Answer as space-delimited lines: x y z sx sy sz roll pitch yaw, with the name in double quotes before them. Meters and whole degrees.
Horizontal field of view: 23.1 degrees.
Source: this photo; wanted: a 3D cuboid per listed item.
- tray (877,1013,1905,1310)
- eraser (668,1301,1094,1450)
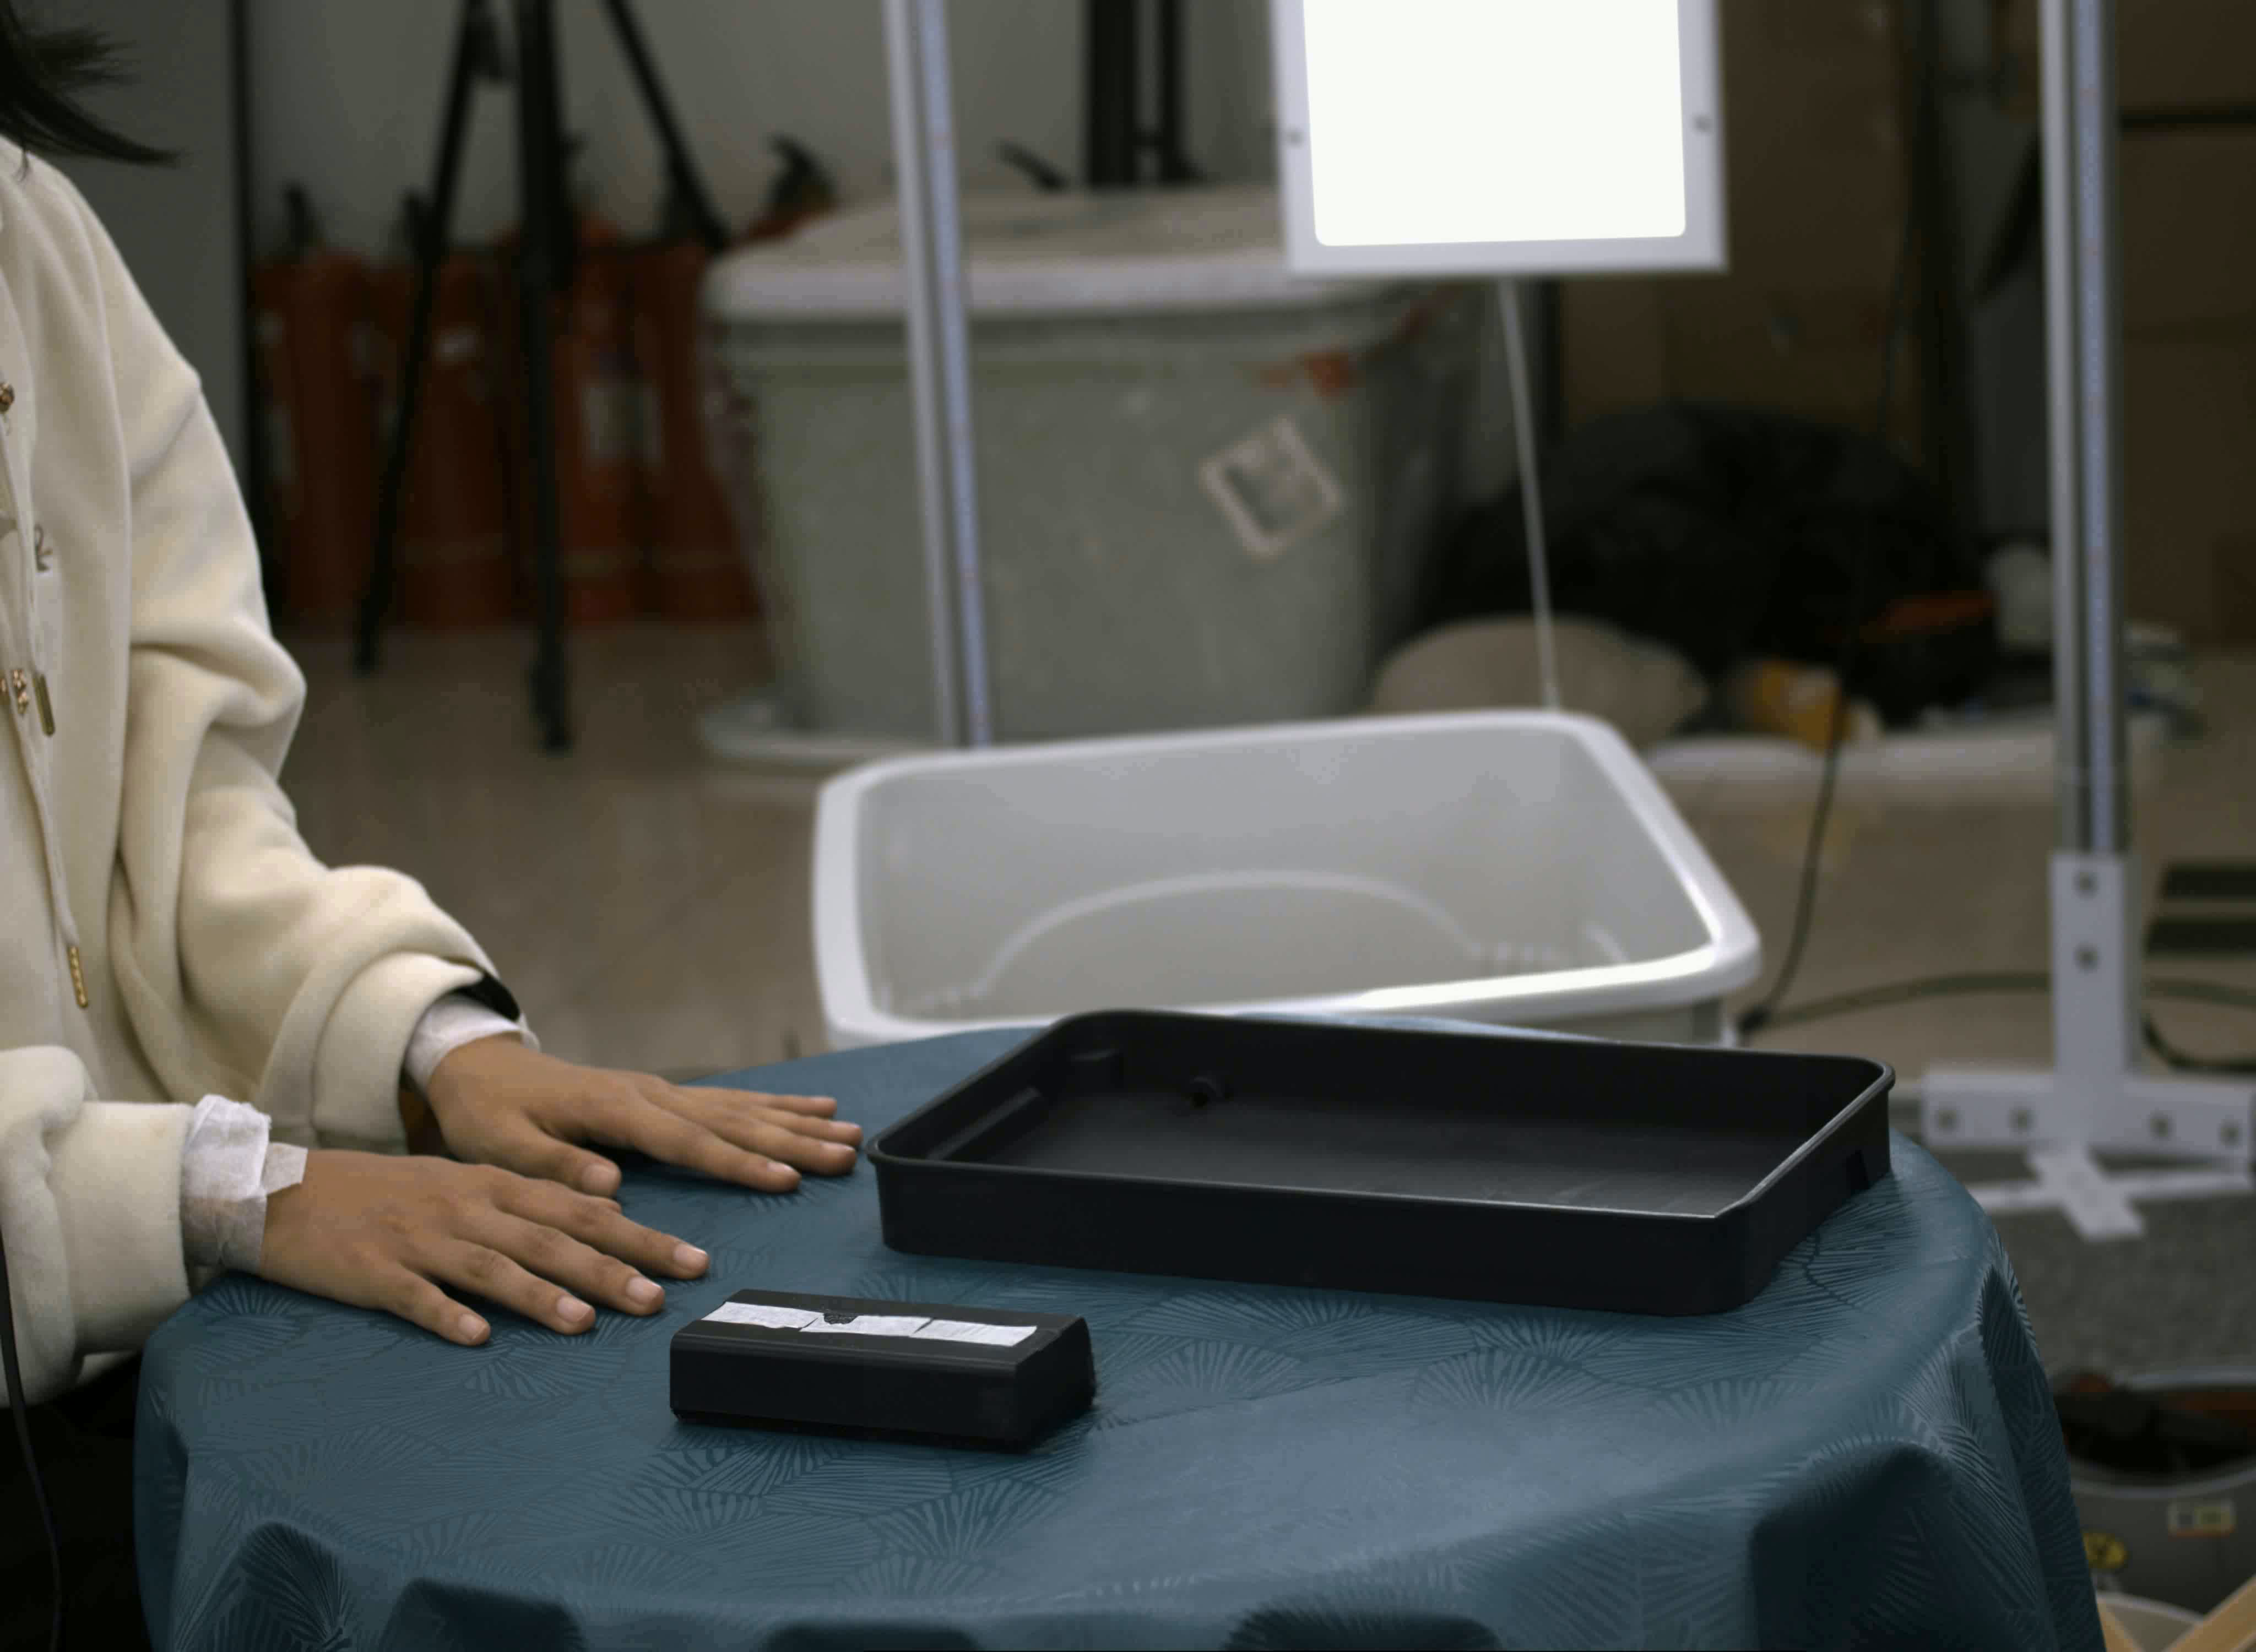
"tray" 0.090 0.110 1.854 0.323 0.037 0.180 1 15 27
"eraser" -0.075 0.168 1.698 0.128 0.030 0.052 2 11 28
